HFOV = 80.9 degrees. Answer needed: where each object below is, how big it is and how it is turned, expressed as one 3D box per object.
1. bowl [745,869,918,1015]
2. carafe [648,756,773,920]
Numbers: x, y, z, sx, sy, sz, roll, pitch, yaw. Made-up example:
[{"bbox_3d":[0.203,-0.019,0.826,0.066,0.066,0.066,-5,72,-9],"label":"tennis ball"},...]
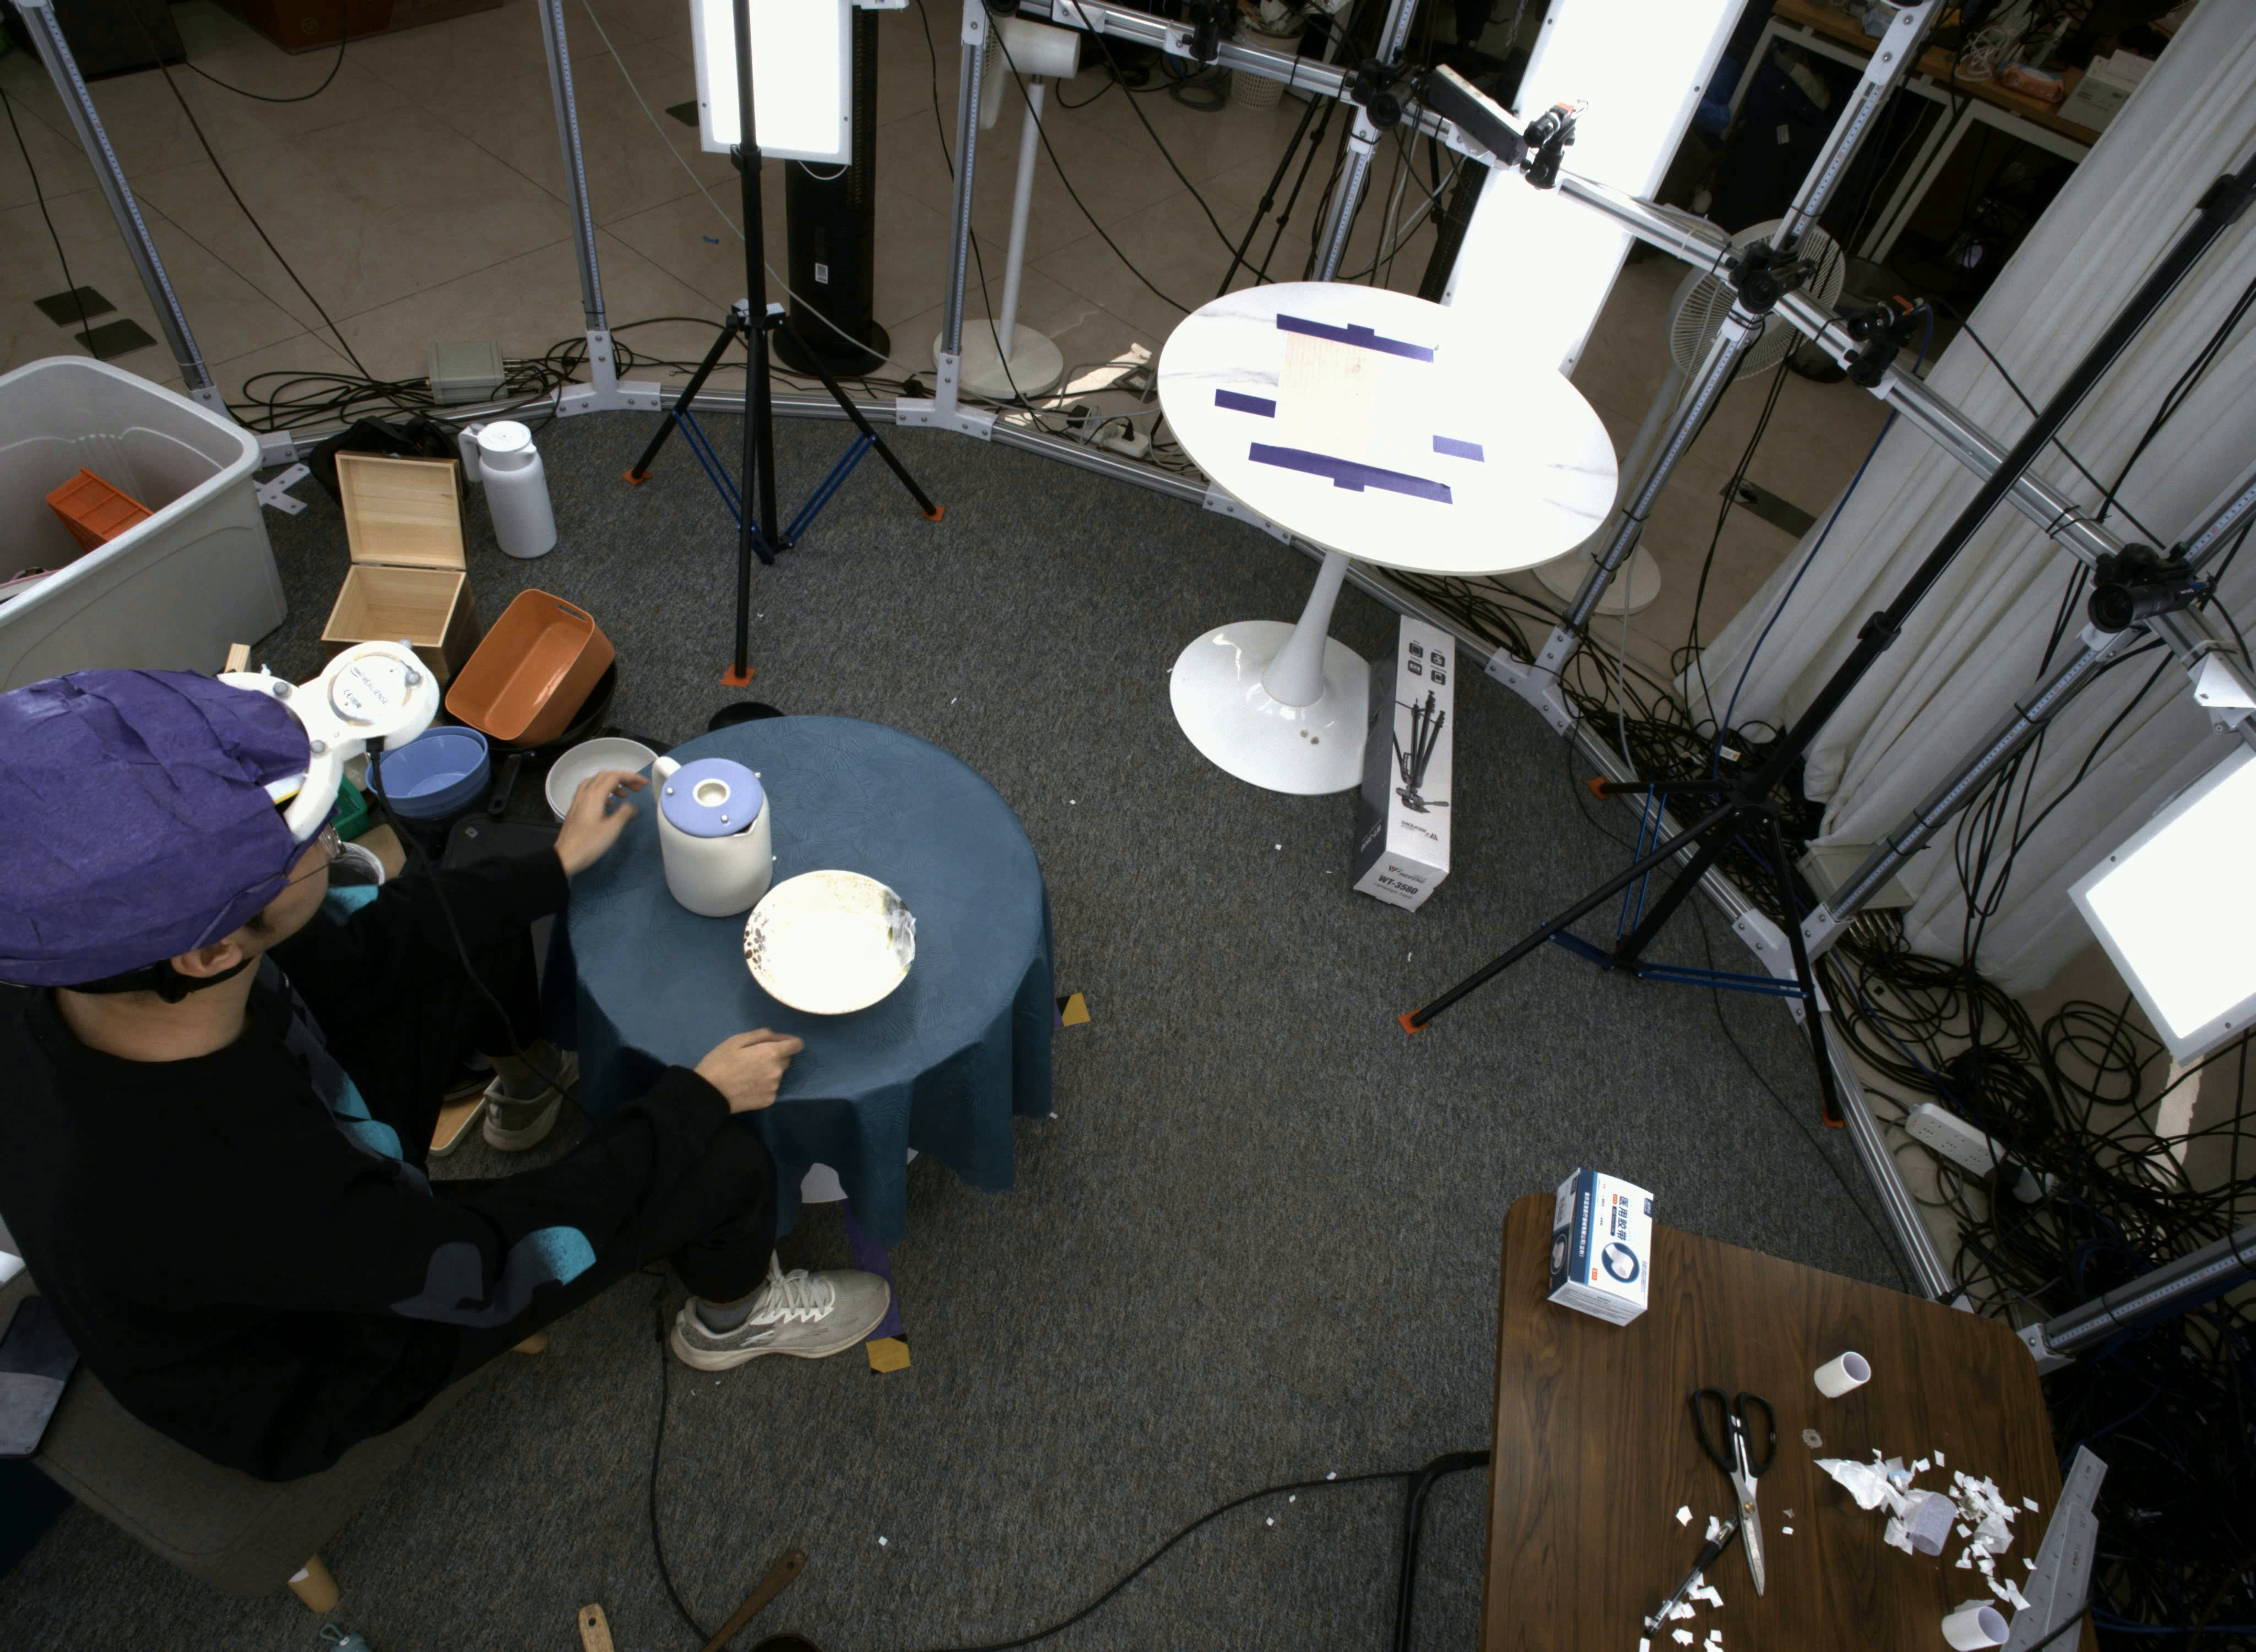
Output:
[{"bbox_3d":[-0.359,0.155,1.584,0.203,0.079,0.200,6,54,-7],"label":"bowl"},{"bbox_3d":[-0.526,0.000,1.593,0.187,0.187,0.132,35,52,17],"label":"carafe"}]
